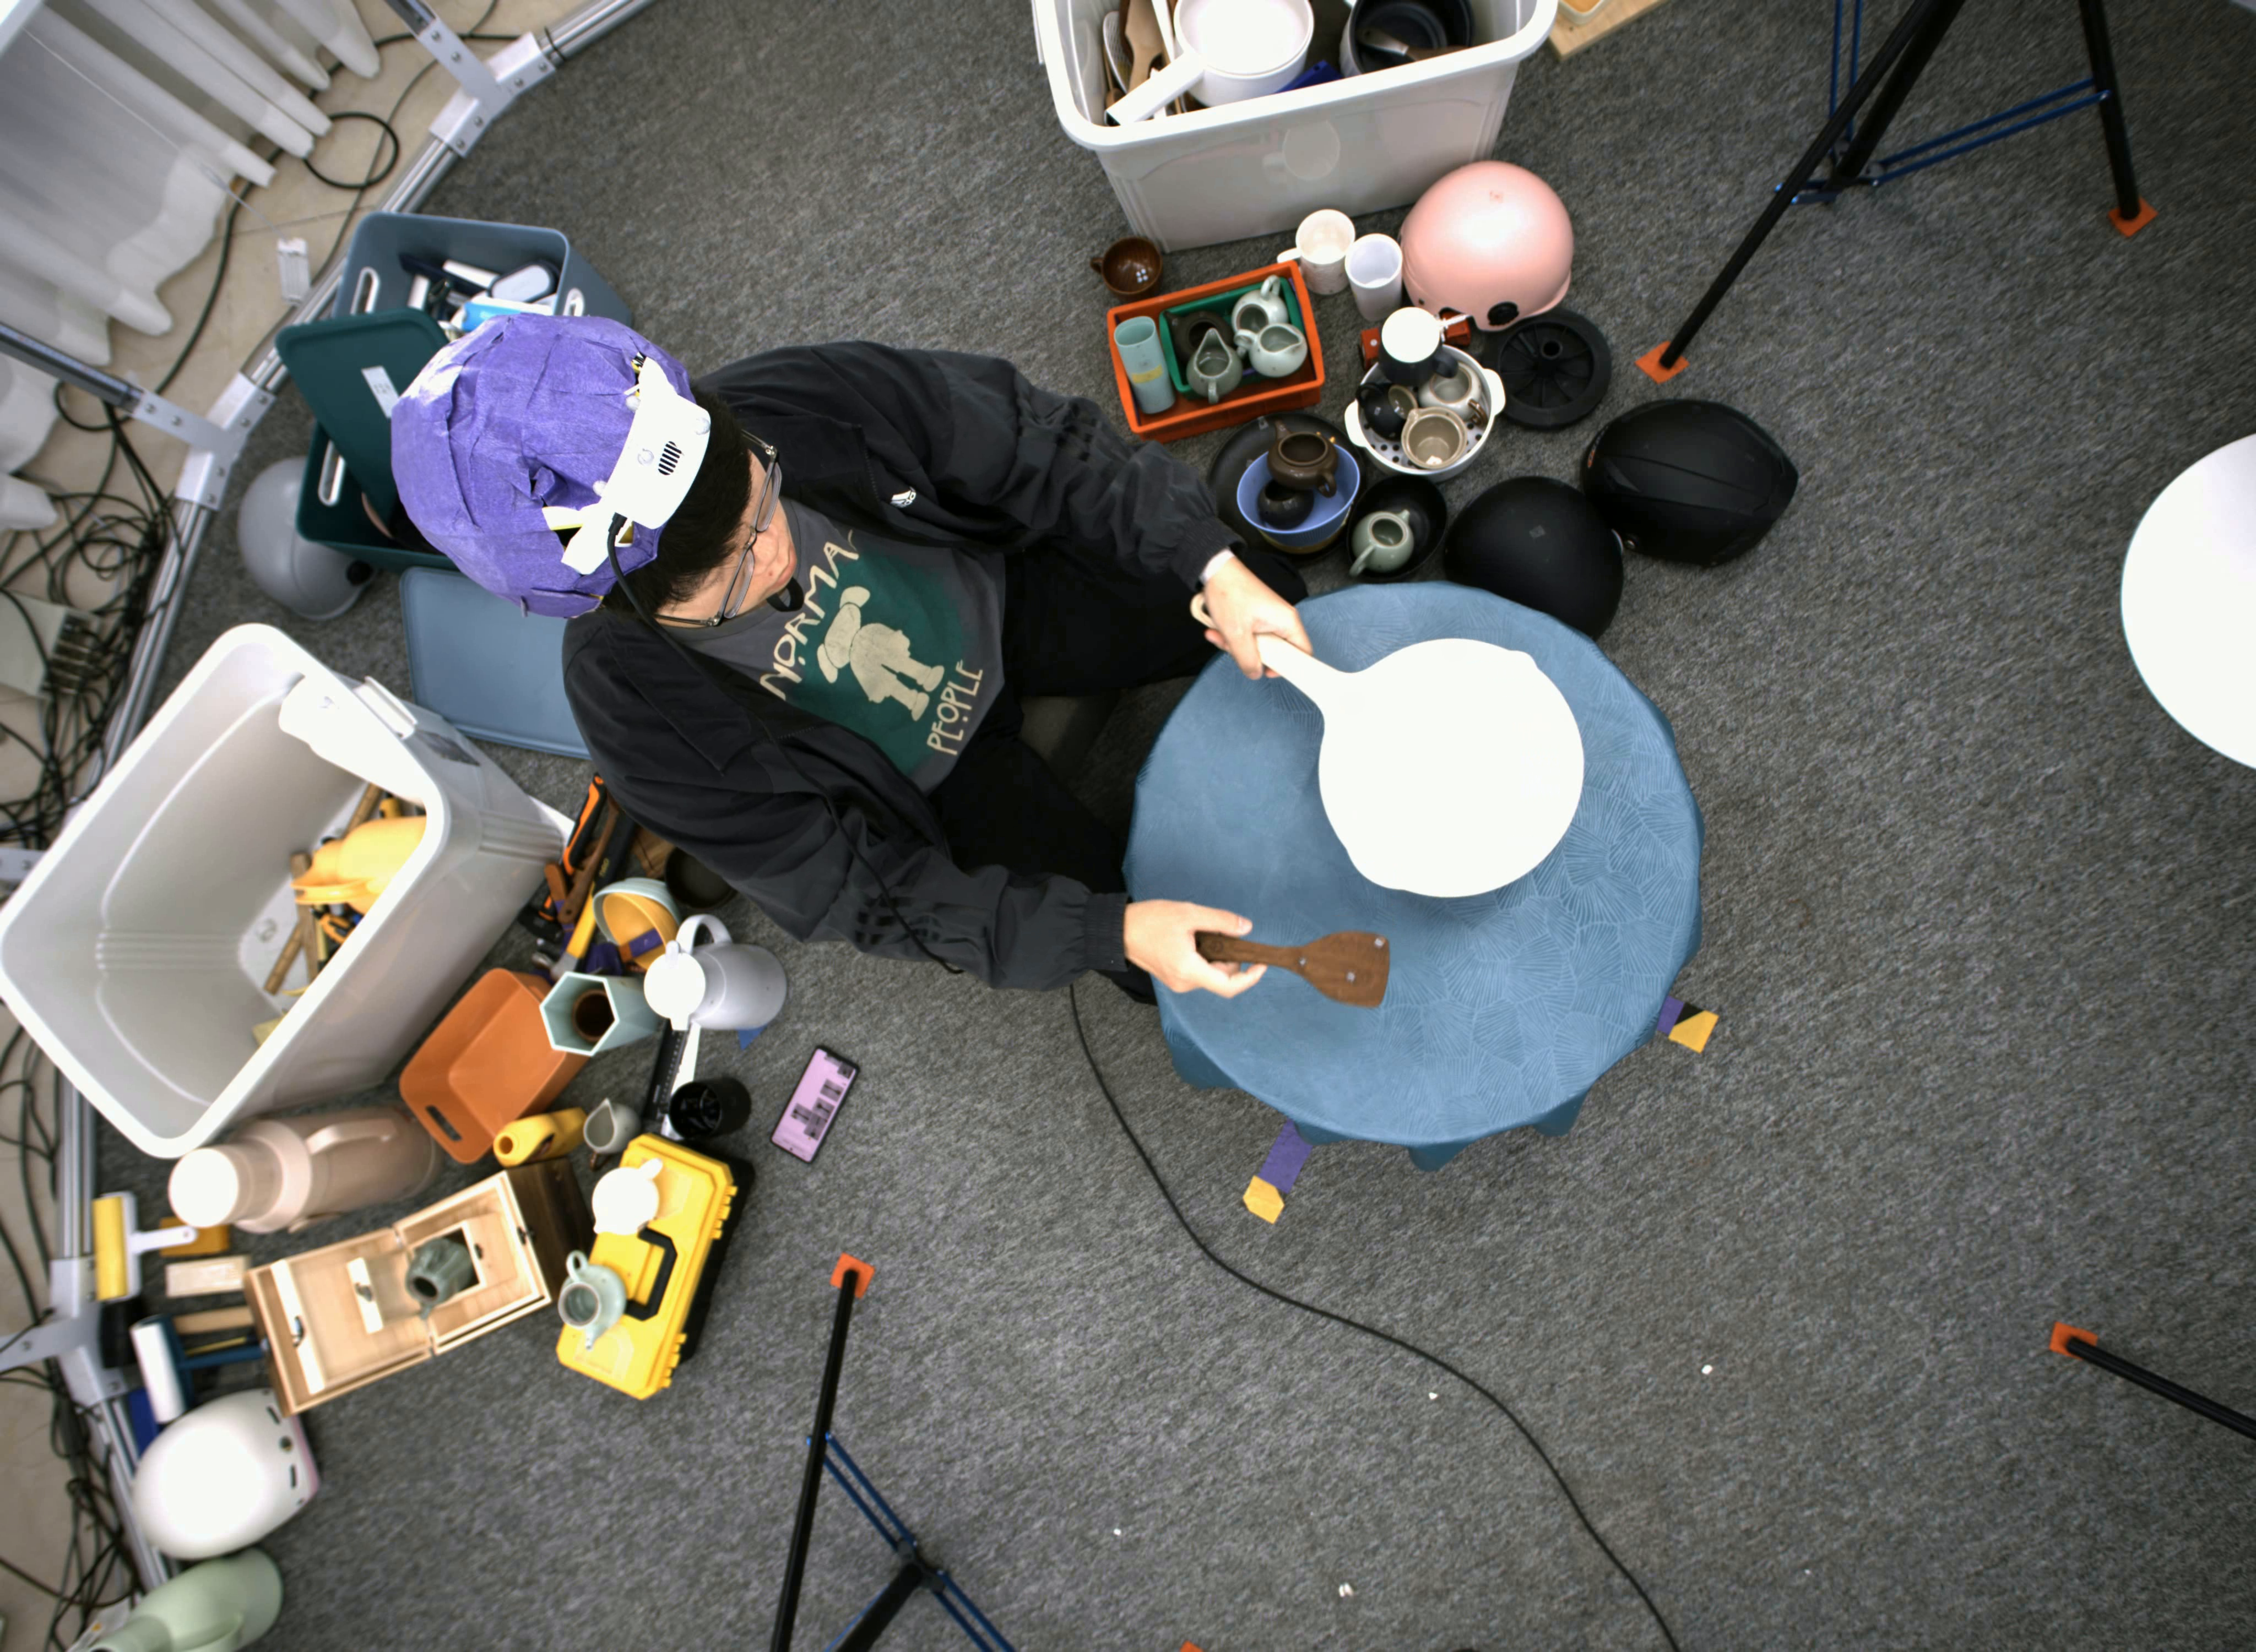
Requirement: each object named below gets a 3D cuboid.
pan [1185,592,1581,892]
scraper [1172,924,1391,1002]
[{"bbox_3d":[0.248,-0.112,1.383,0.432,0.101,0.266,36,102,18],"label":"pan"},{"bbox_3d":[0.146,0.121,1.334,0.212,0.011,0.074,6,74,13],"label":"scraper"}]
